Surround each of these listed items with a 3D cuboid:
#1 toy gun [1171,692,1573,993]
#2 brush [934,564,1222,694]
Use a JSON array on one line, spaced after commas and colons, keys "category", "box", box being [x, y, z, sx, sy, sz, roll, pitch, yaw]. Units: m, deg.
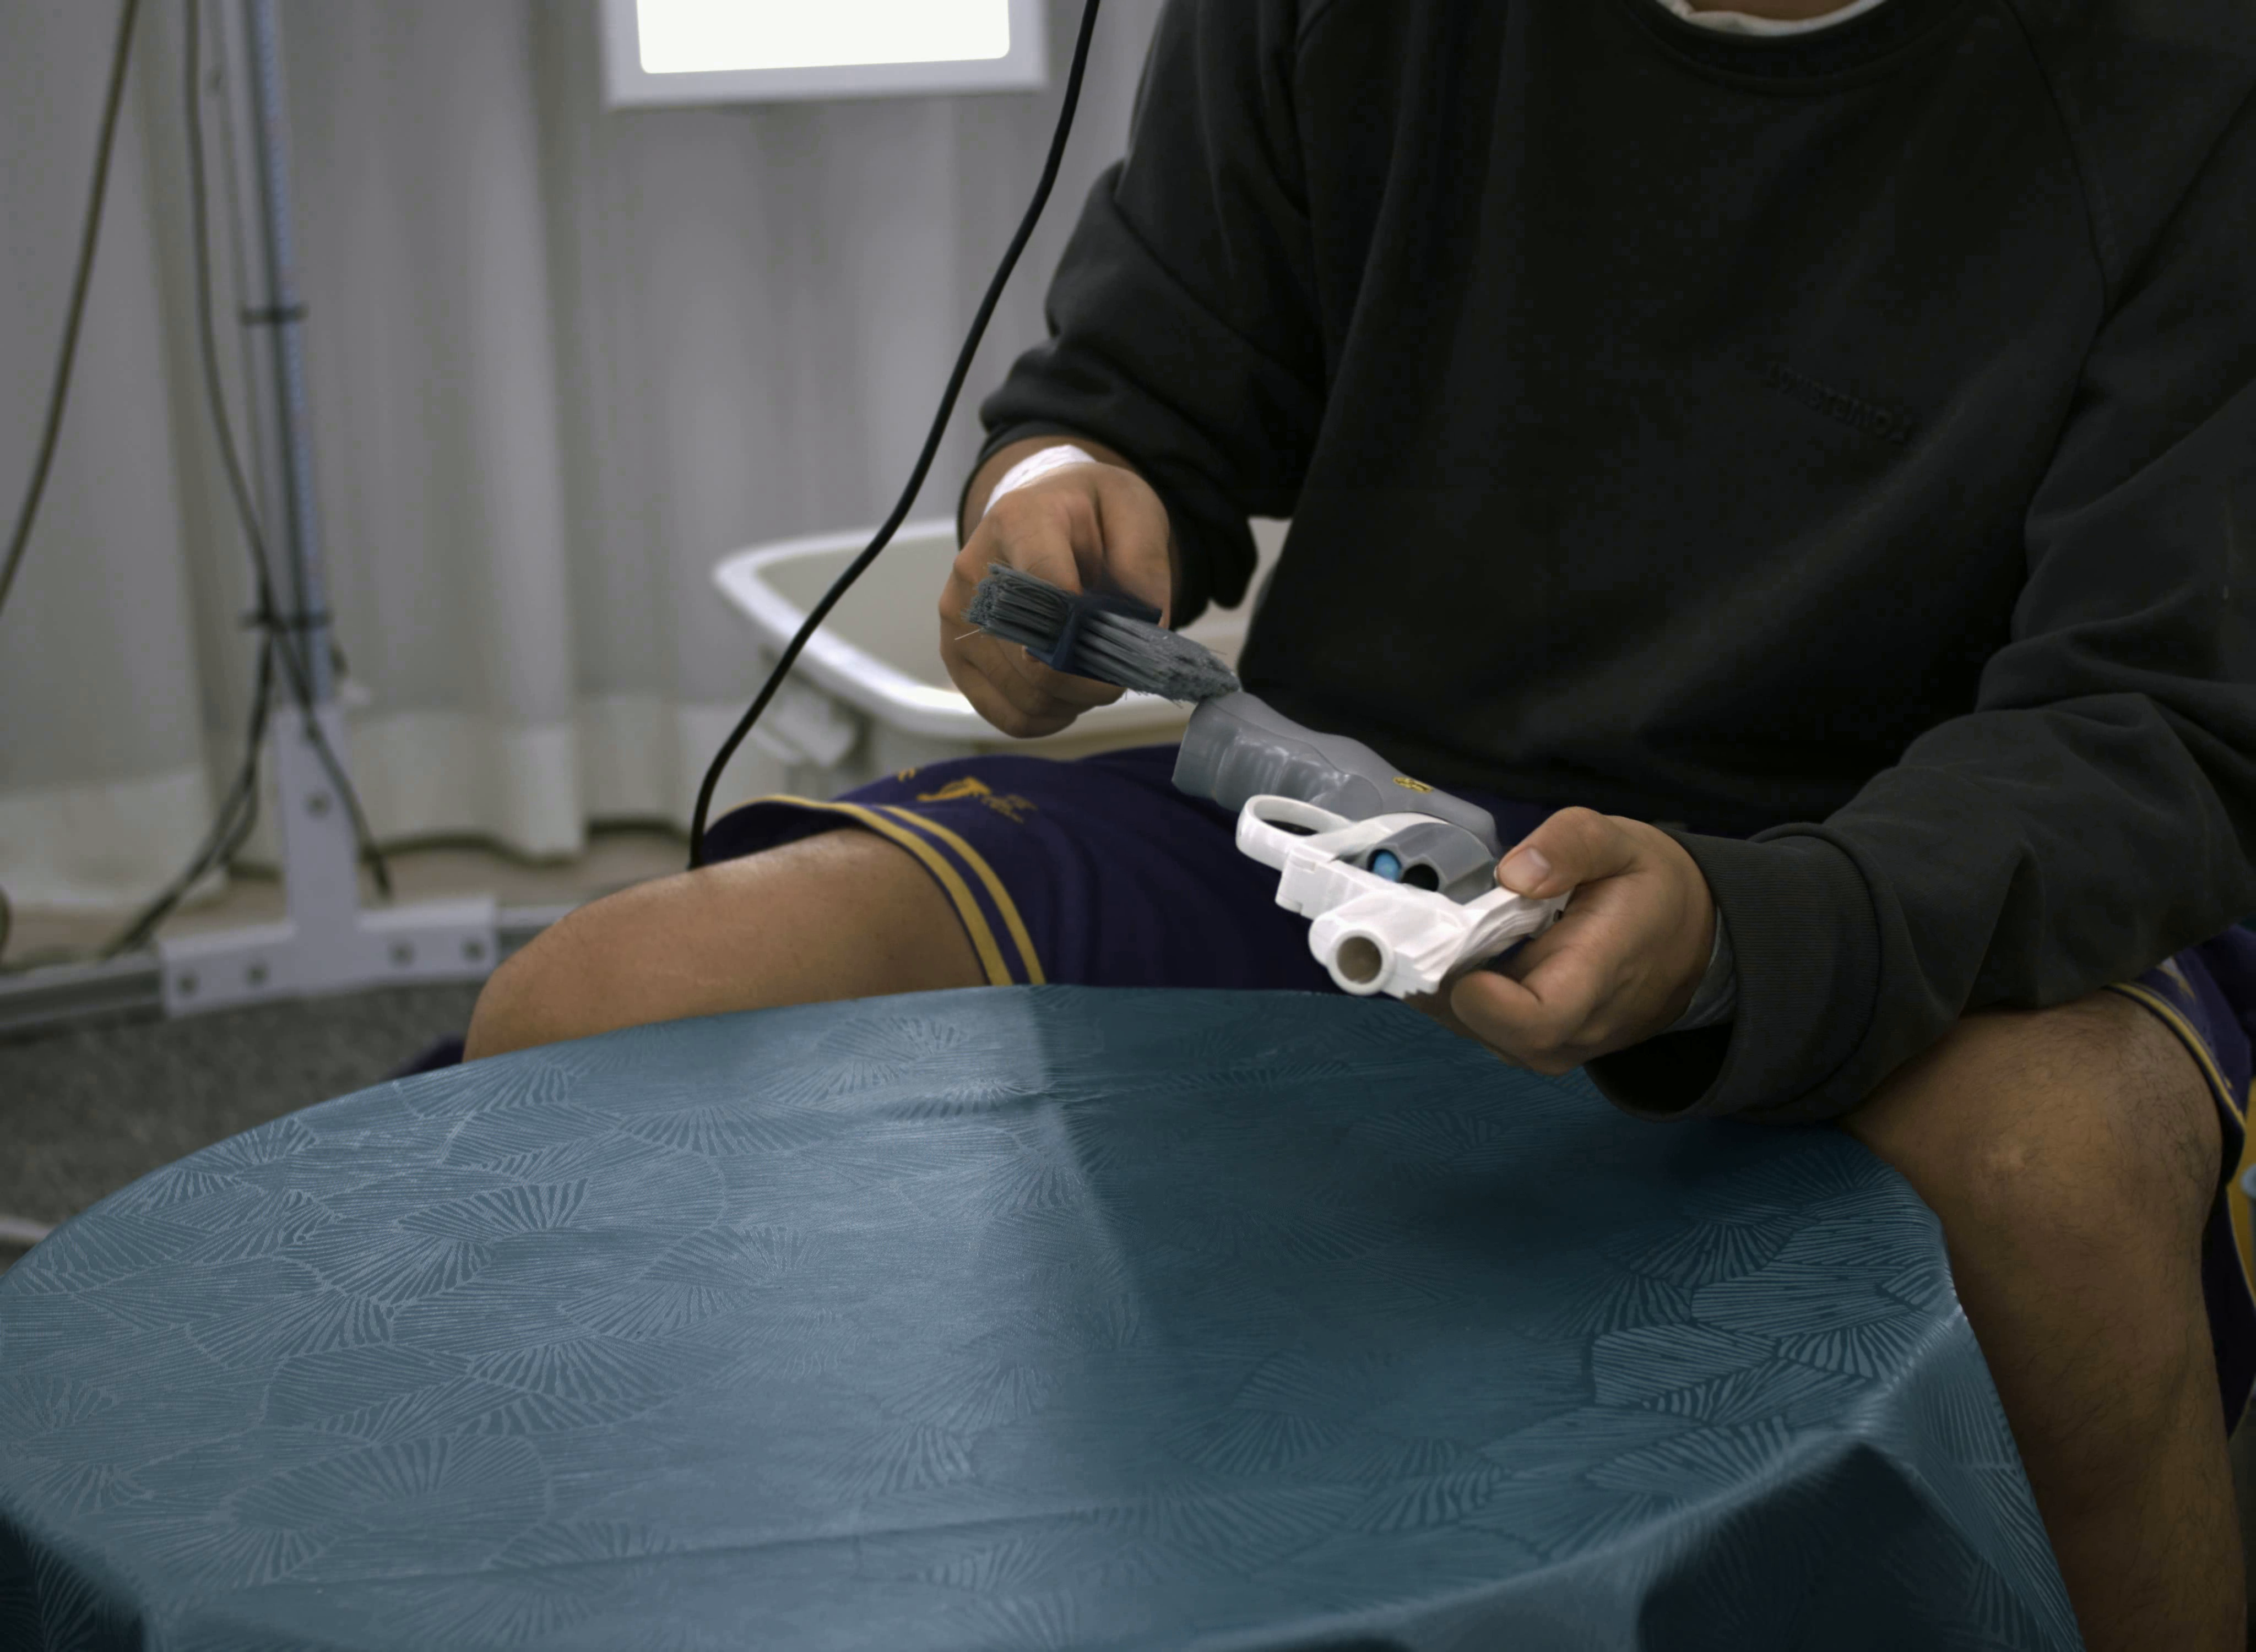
[{"category": "toy gun", "box": [0.059, 0.006, 1.630, 0.142, 0.039, 0.209, 21, 14, 16]}, {"category": "brush", "box": [-0.019, -0.072, 1.793, 0.095, 0.033, 0.274, 20, 5, -6]}]
